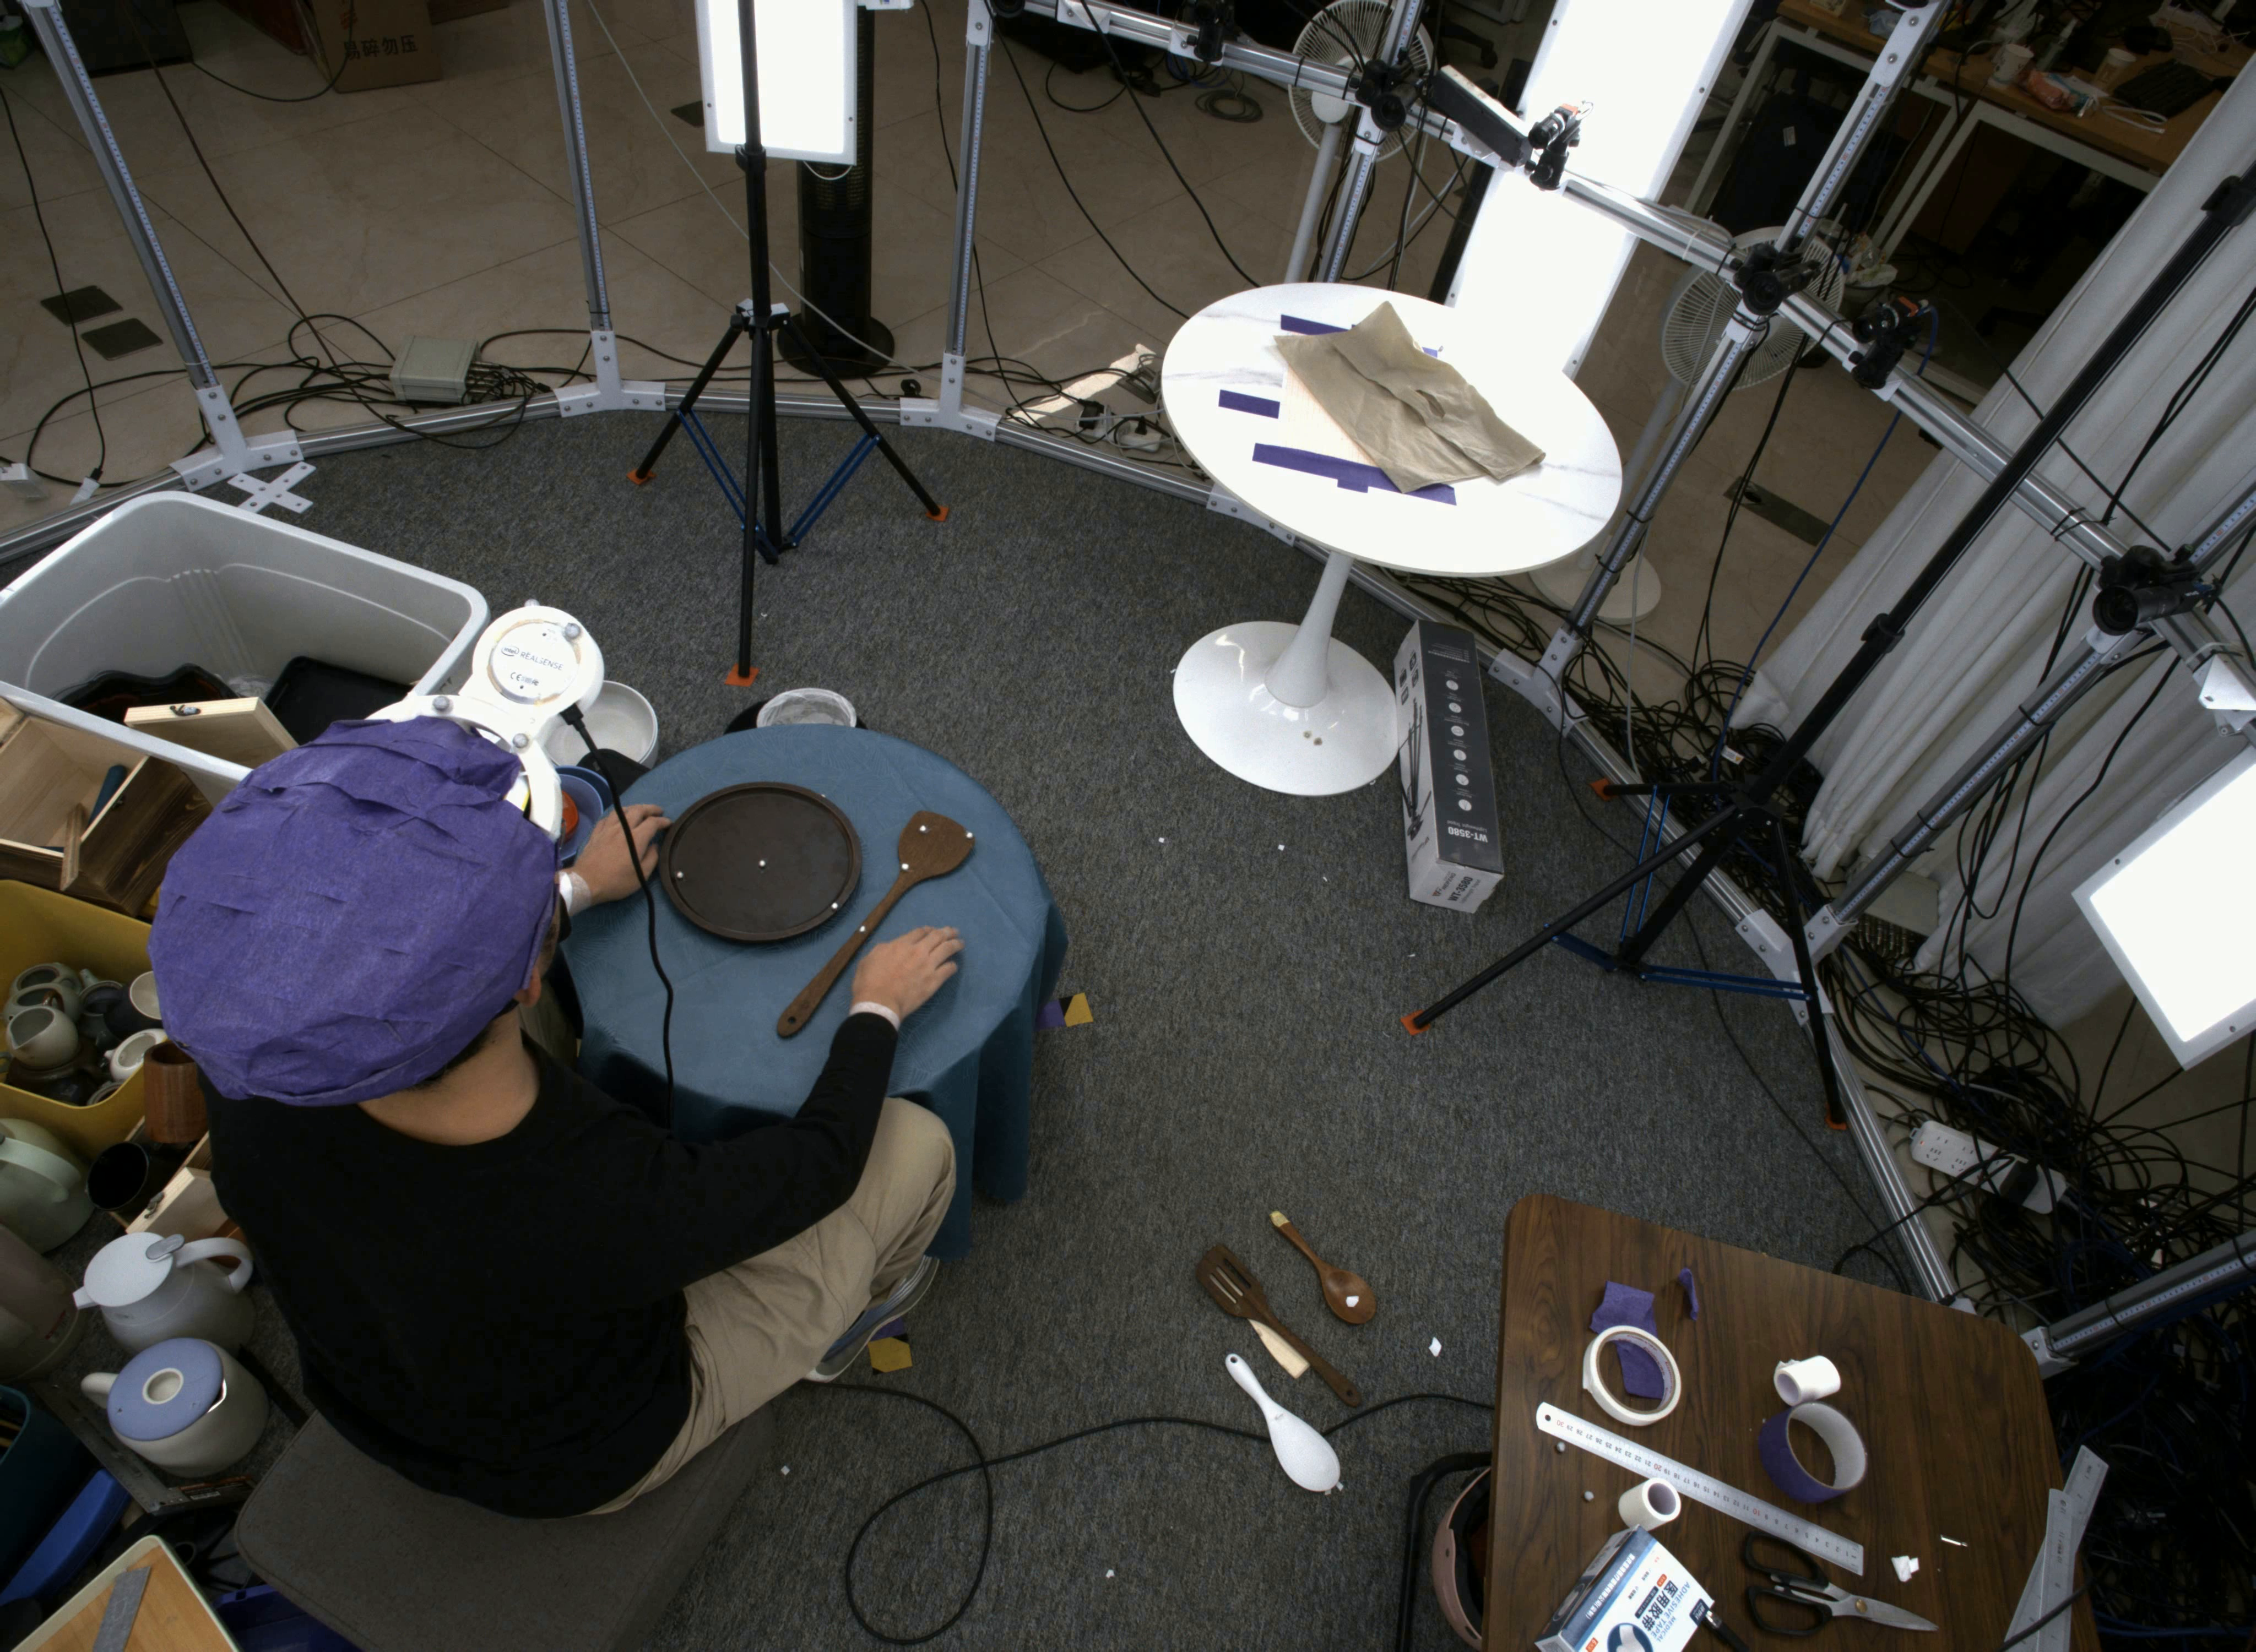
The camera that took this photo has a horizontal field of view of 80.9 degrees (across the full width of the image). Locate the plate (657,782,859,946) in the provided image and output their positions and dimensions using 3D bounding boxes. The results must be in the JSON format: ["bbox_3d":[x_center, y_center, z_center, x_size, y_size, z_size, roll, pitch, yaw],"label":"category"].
[{"bbox_3d":[-0.473,0.045,1.656,0.254,0.029,0.250,9,53,-10],"label":"plate"}]

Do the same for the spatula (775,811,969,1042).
[{"bbox_3d":[-0.329,0.120,1.644,0.094,0.016,0.384,27,52,7],"label":"spatula"}]
